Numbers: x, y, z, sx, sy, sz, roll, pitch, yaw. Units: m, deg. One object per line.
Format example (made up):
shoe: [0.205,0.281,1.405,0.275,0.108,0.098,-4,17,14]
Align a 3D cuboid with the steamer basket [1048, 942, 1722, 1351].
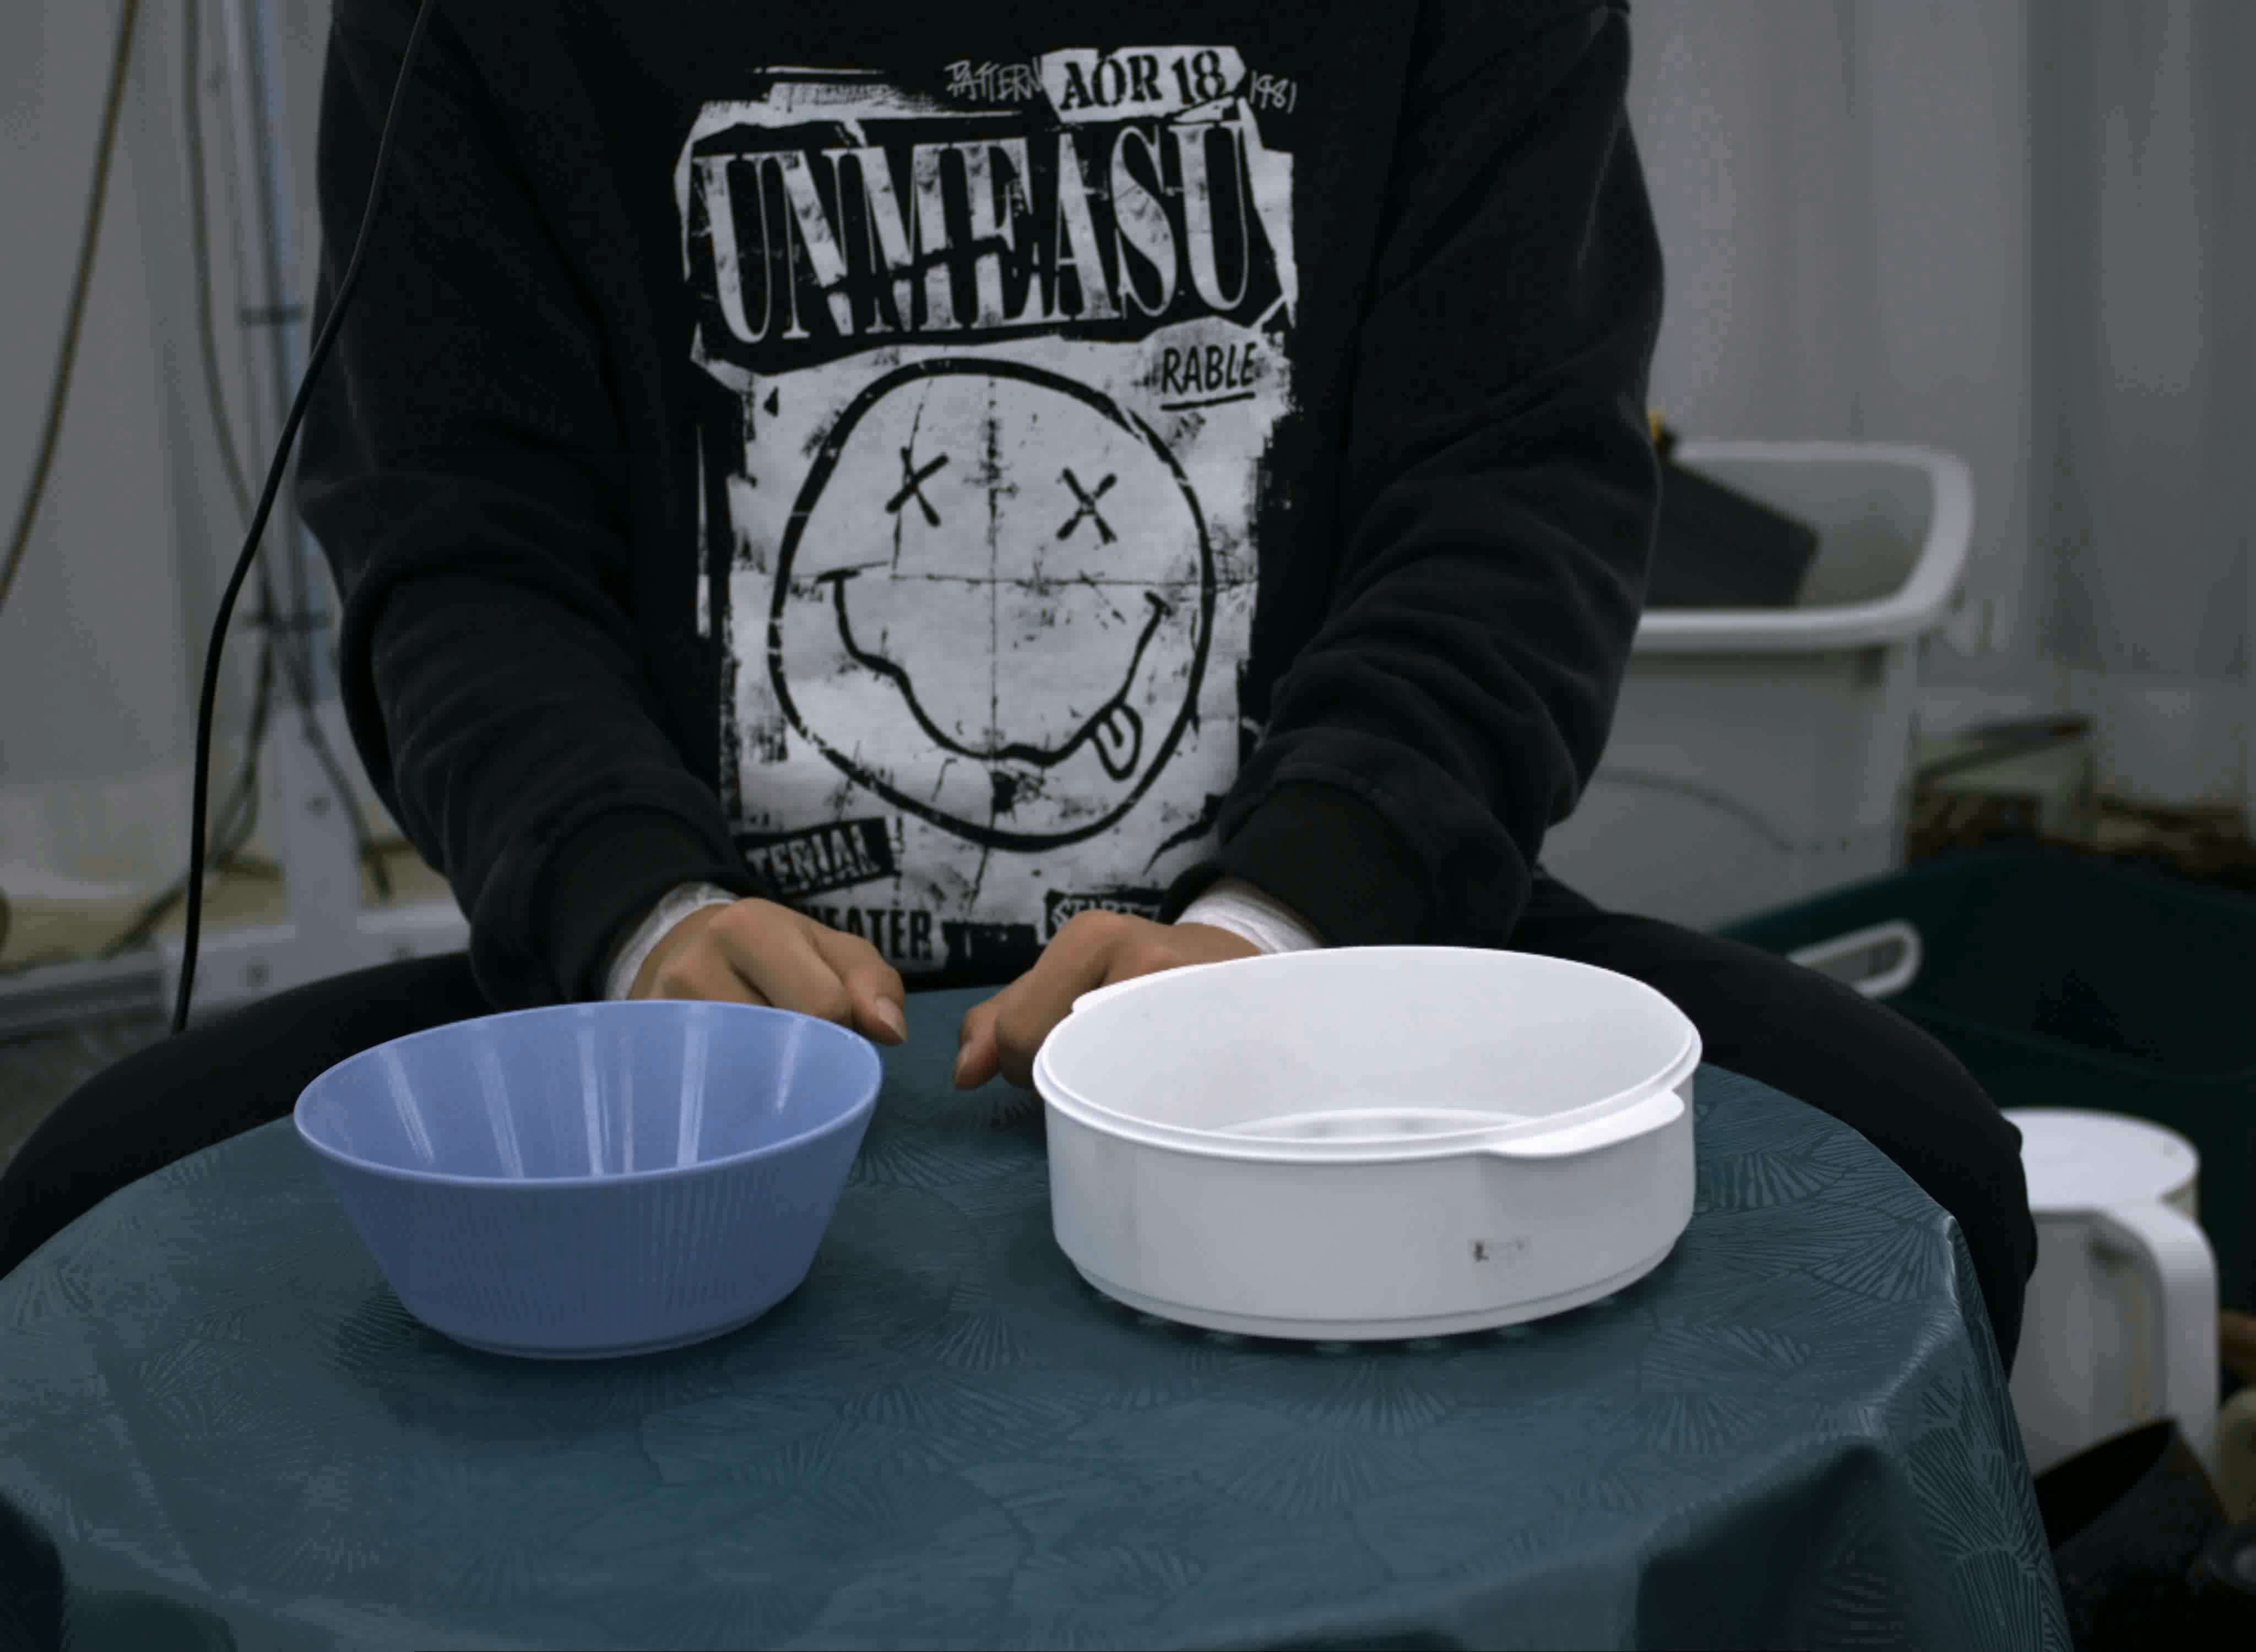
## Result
steamer basket: [0.077,0.096,1.638,0.201,0.069,0.232,-14,21,-36]

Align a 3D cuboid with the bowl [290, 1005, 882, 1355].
bowl: [-0.160,0.108,1.633,0.175,0.070,0.177,-2,14,0]
